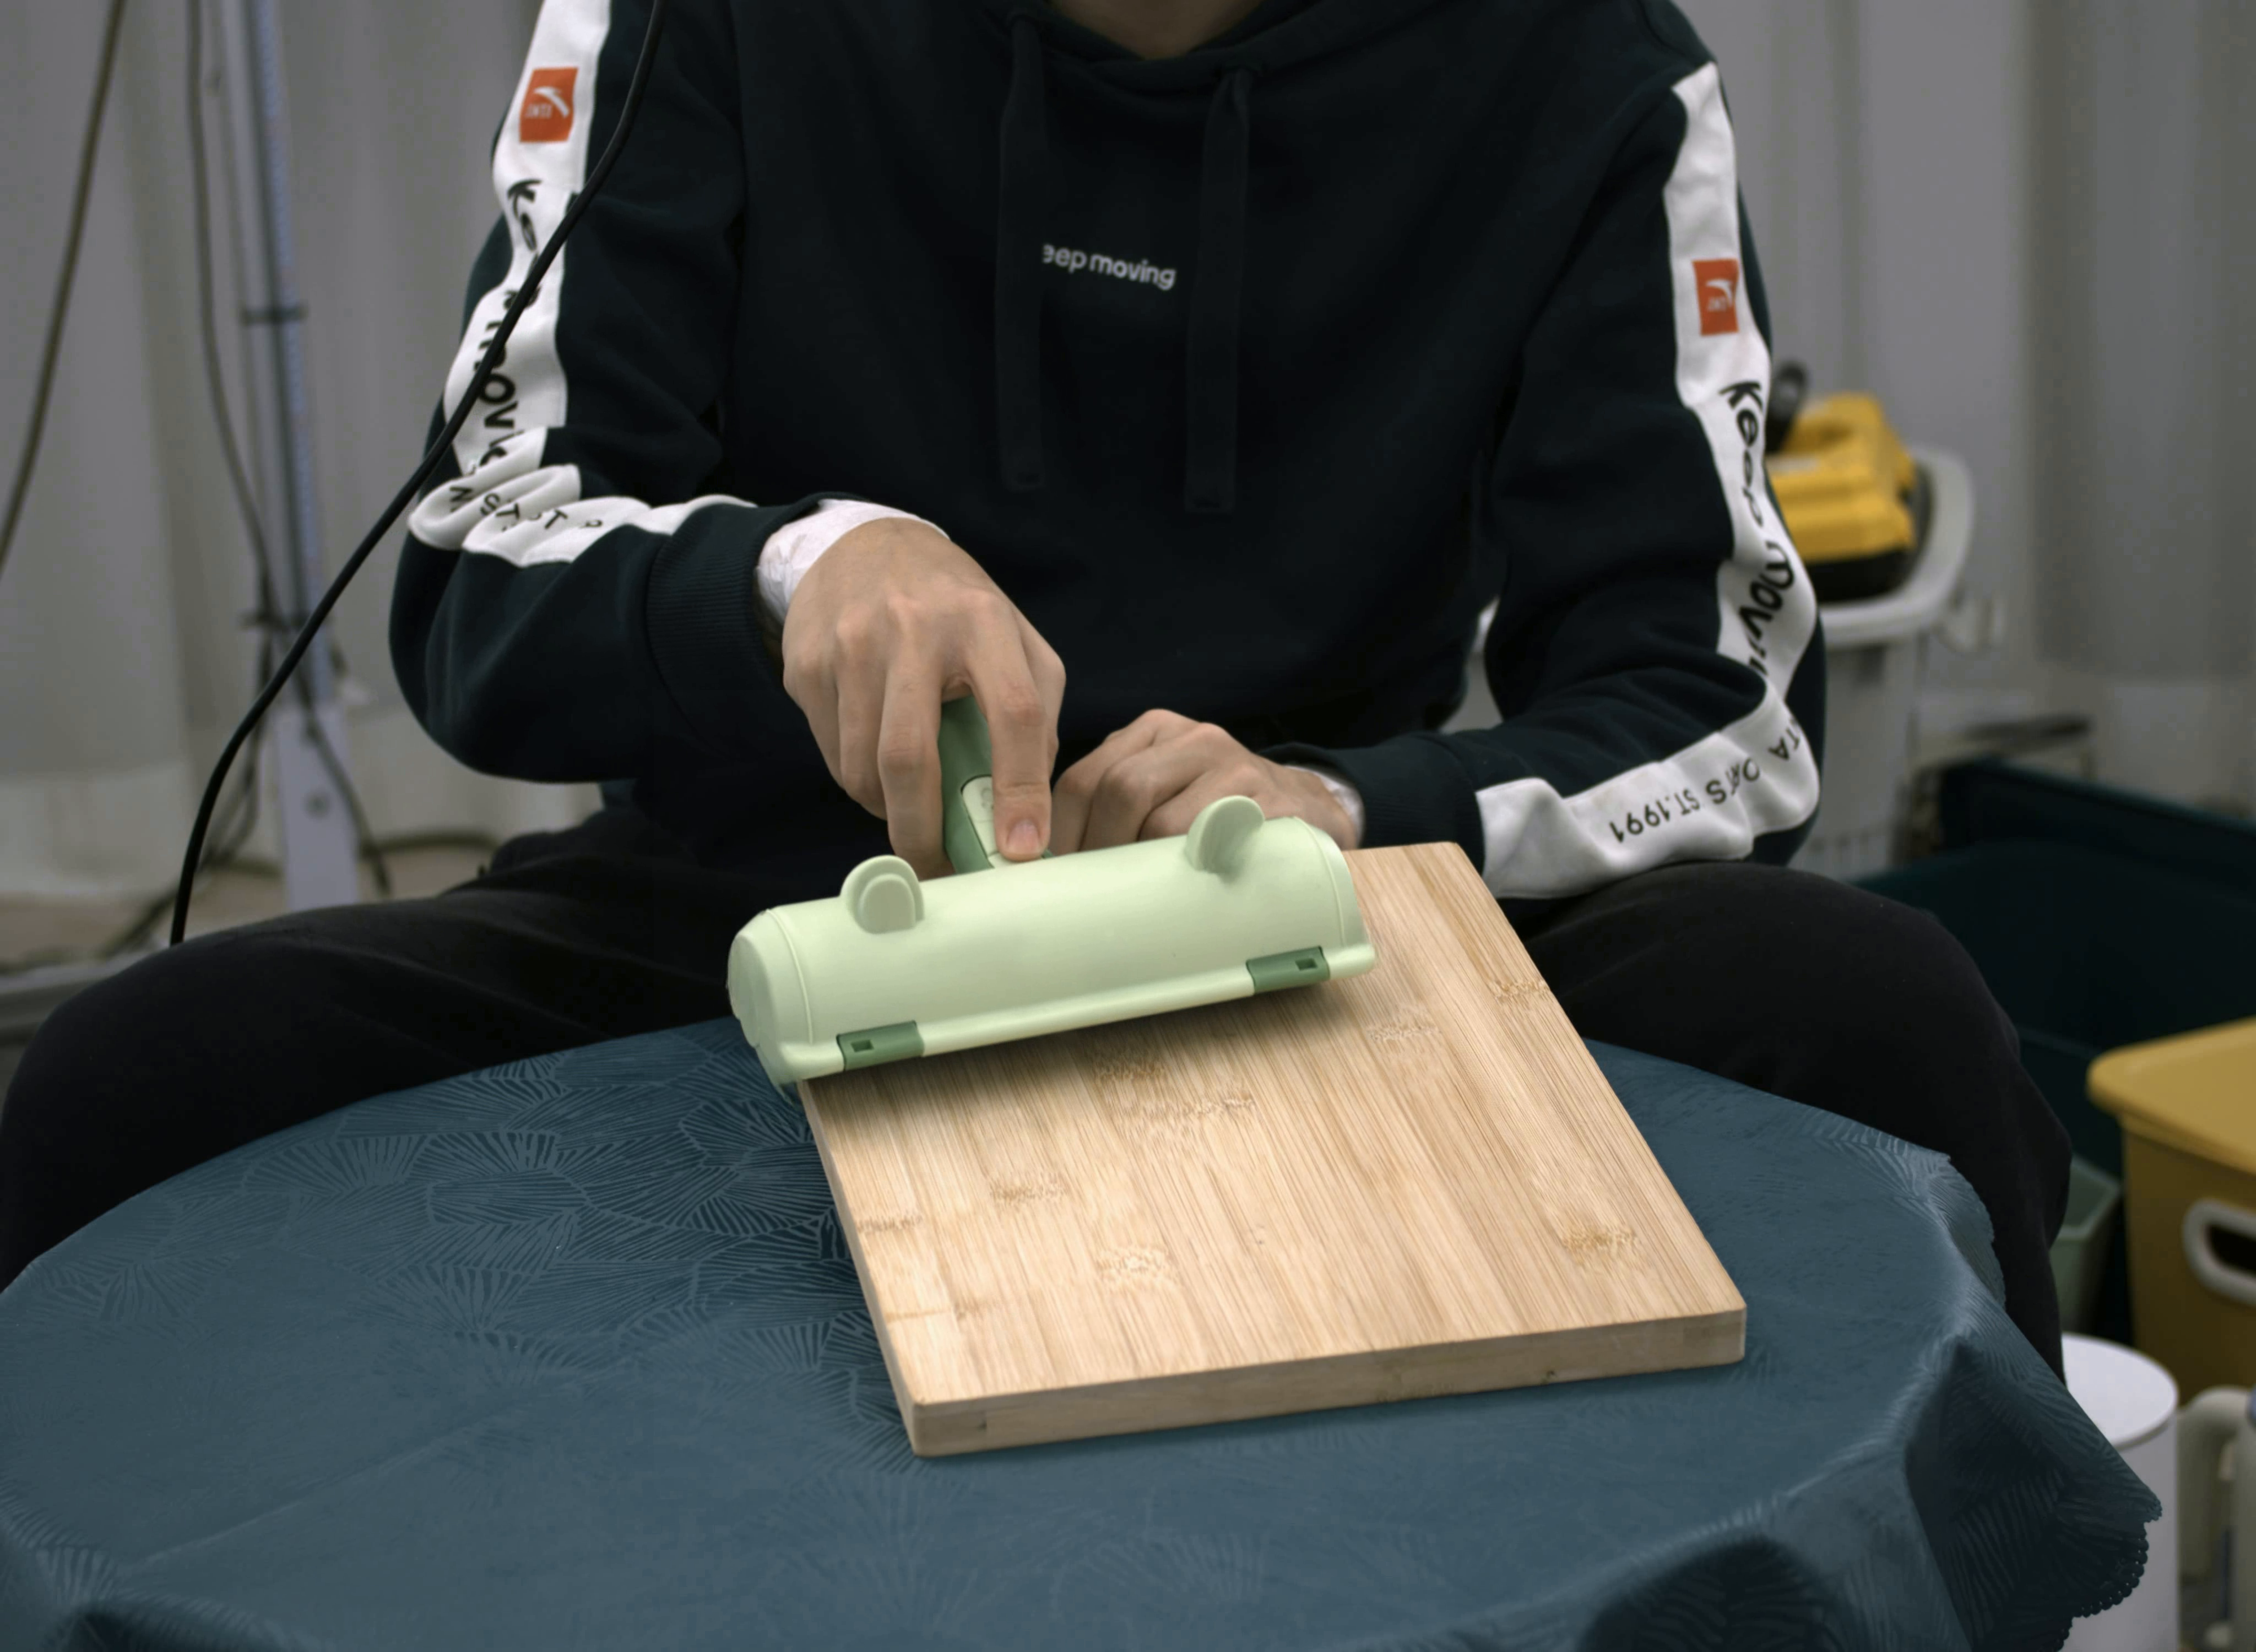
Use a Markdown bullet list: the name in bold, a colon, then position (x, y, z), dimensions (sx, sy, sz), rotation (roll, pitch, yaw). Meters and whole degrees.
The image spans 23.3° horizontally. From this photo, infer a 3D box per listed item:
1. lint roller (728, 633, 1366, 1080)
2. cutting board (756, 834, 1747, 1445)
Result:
- **lint roller**: position (-0.043, -0.009, 1.733), dimensions (0.198, 0.081, 0.186), rotation (-10, 54, -19)
- **cutting board**: position (0.026, 0.089, 1.678), dimensions (0.249, 0.023, 0.352), rotation (-6, 24, -10)
